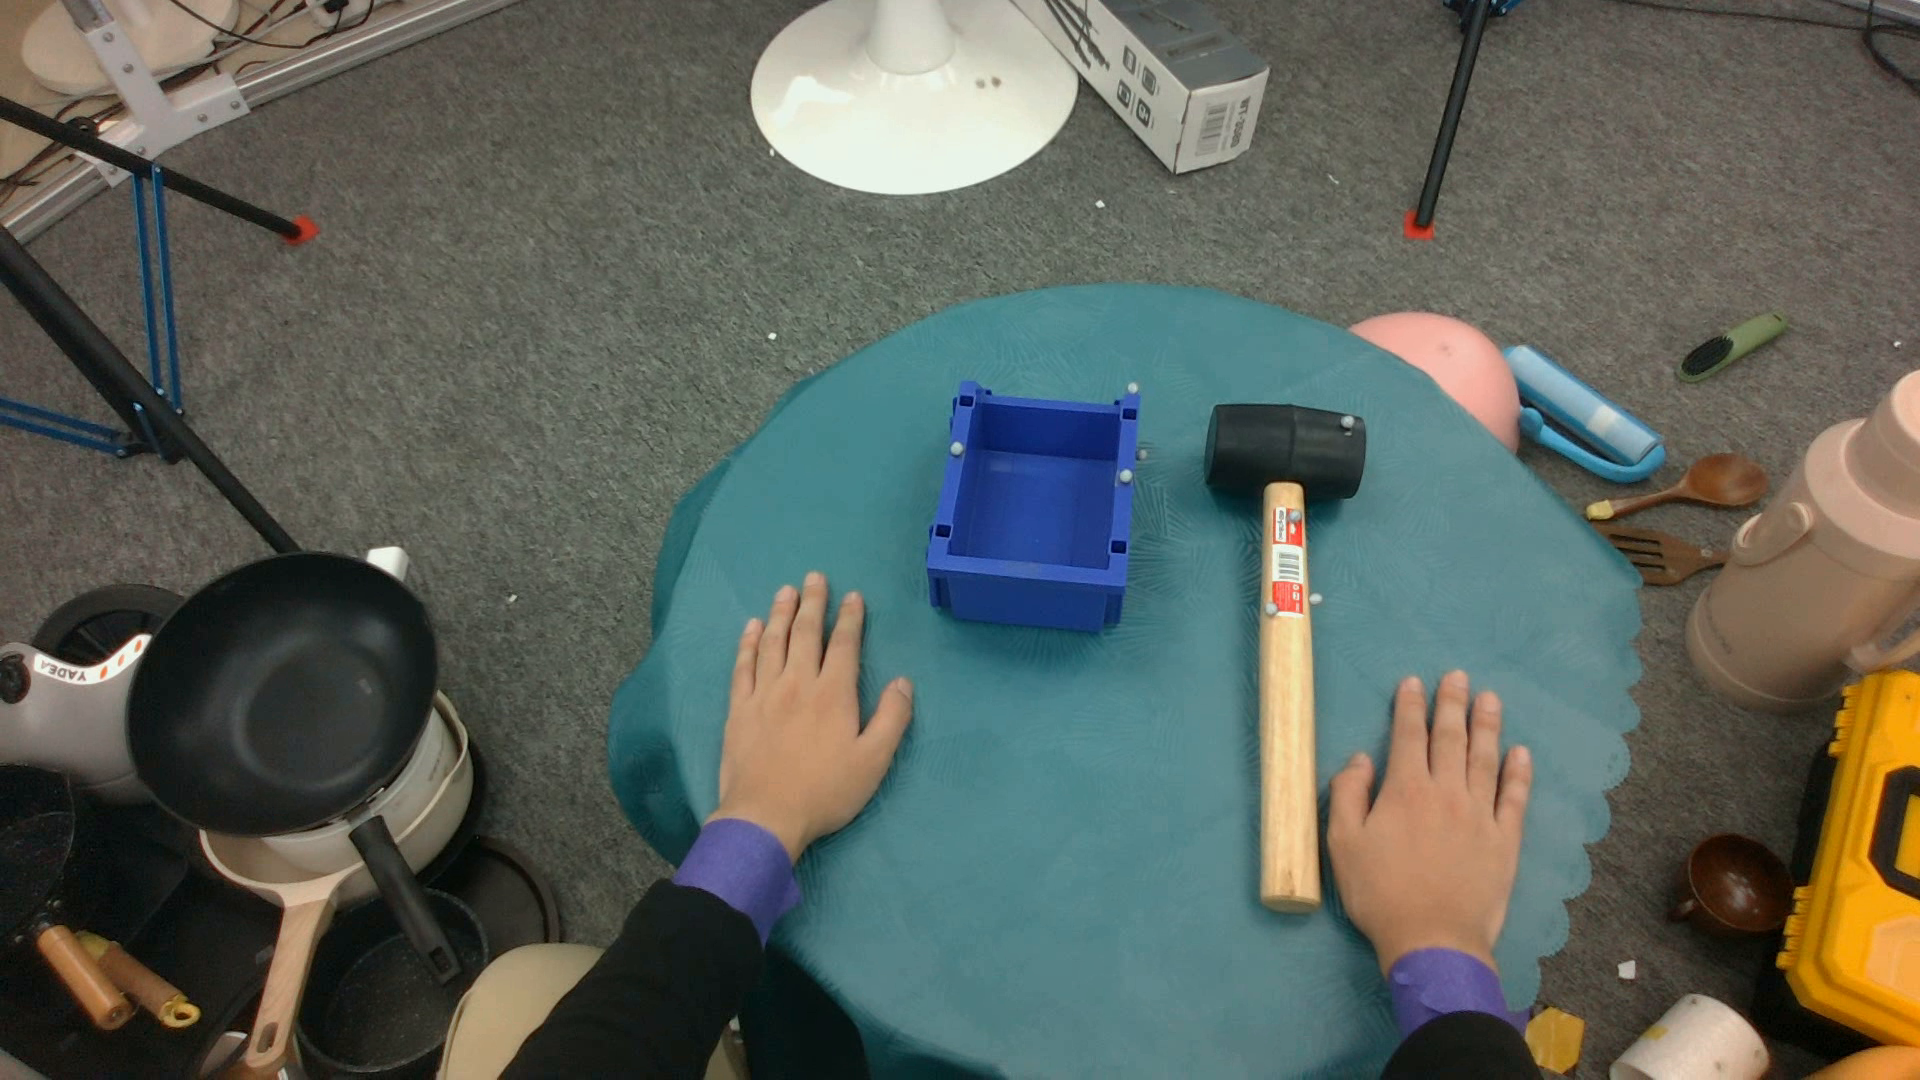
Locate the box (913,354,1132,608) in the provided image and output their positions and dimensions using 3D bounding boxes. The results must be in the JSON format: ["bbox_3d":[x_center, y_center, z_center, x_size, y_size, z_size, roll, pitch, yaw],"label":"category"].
[{"bbox_3d":[0.044,-0.046,0.902,0.124,0.081,0.180,6,60,6],"label":"box"}]

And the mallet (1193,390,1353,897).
[{"bbox_3d":[0.194,0.046,0.847,0.102,0.064,0.340,4,57,5],"label":"mallet"}]
